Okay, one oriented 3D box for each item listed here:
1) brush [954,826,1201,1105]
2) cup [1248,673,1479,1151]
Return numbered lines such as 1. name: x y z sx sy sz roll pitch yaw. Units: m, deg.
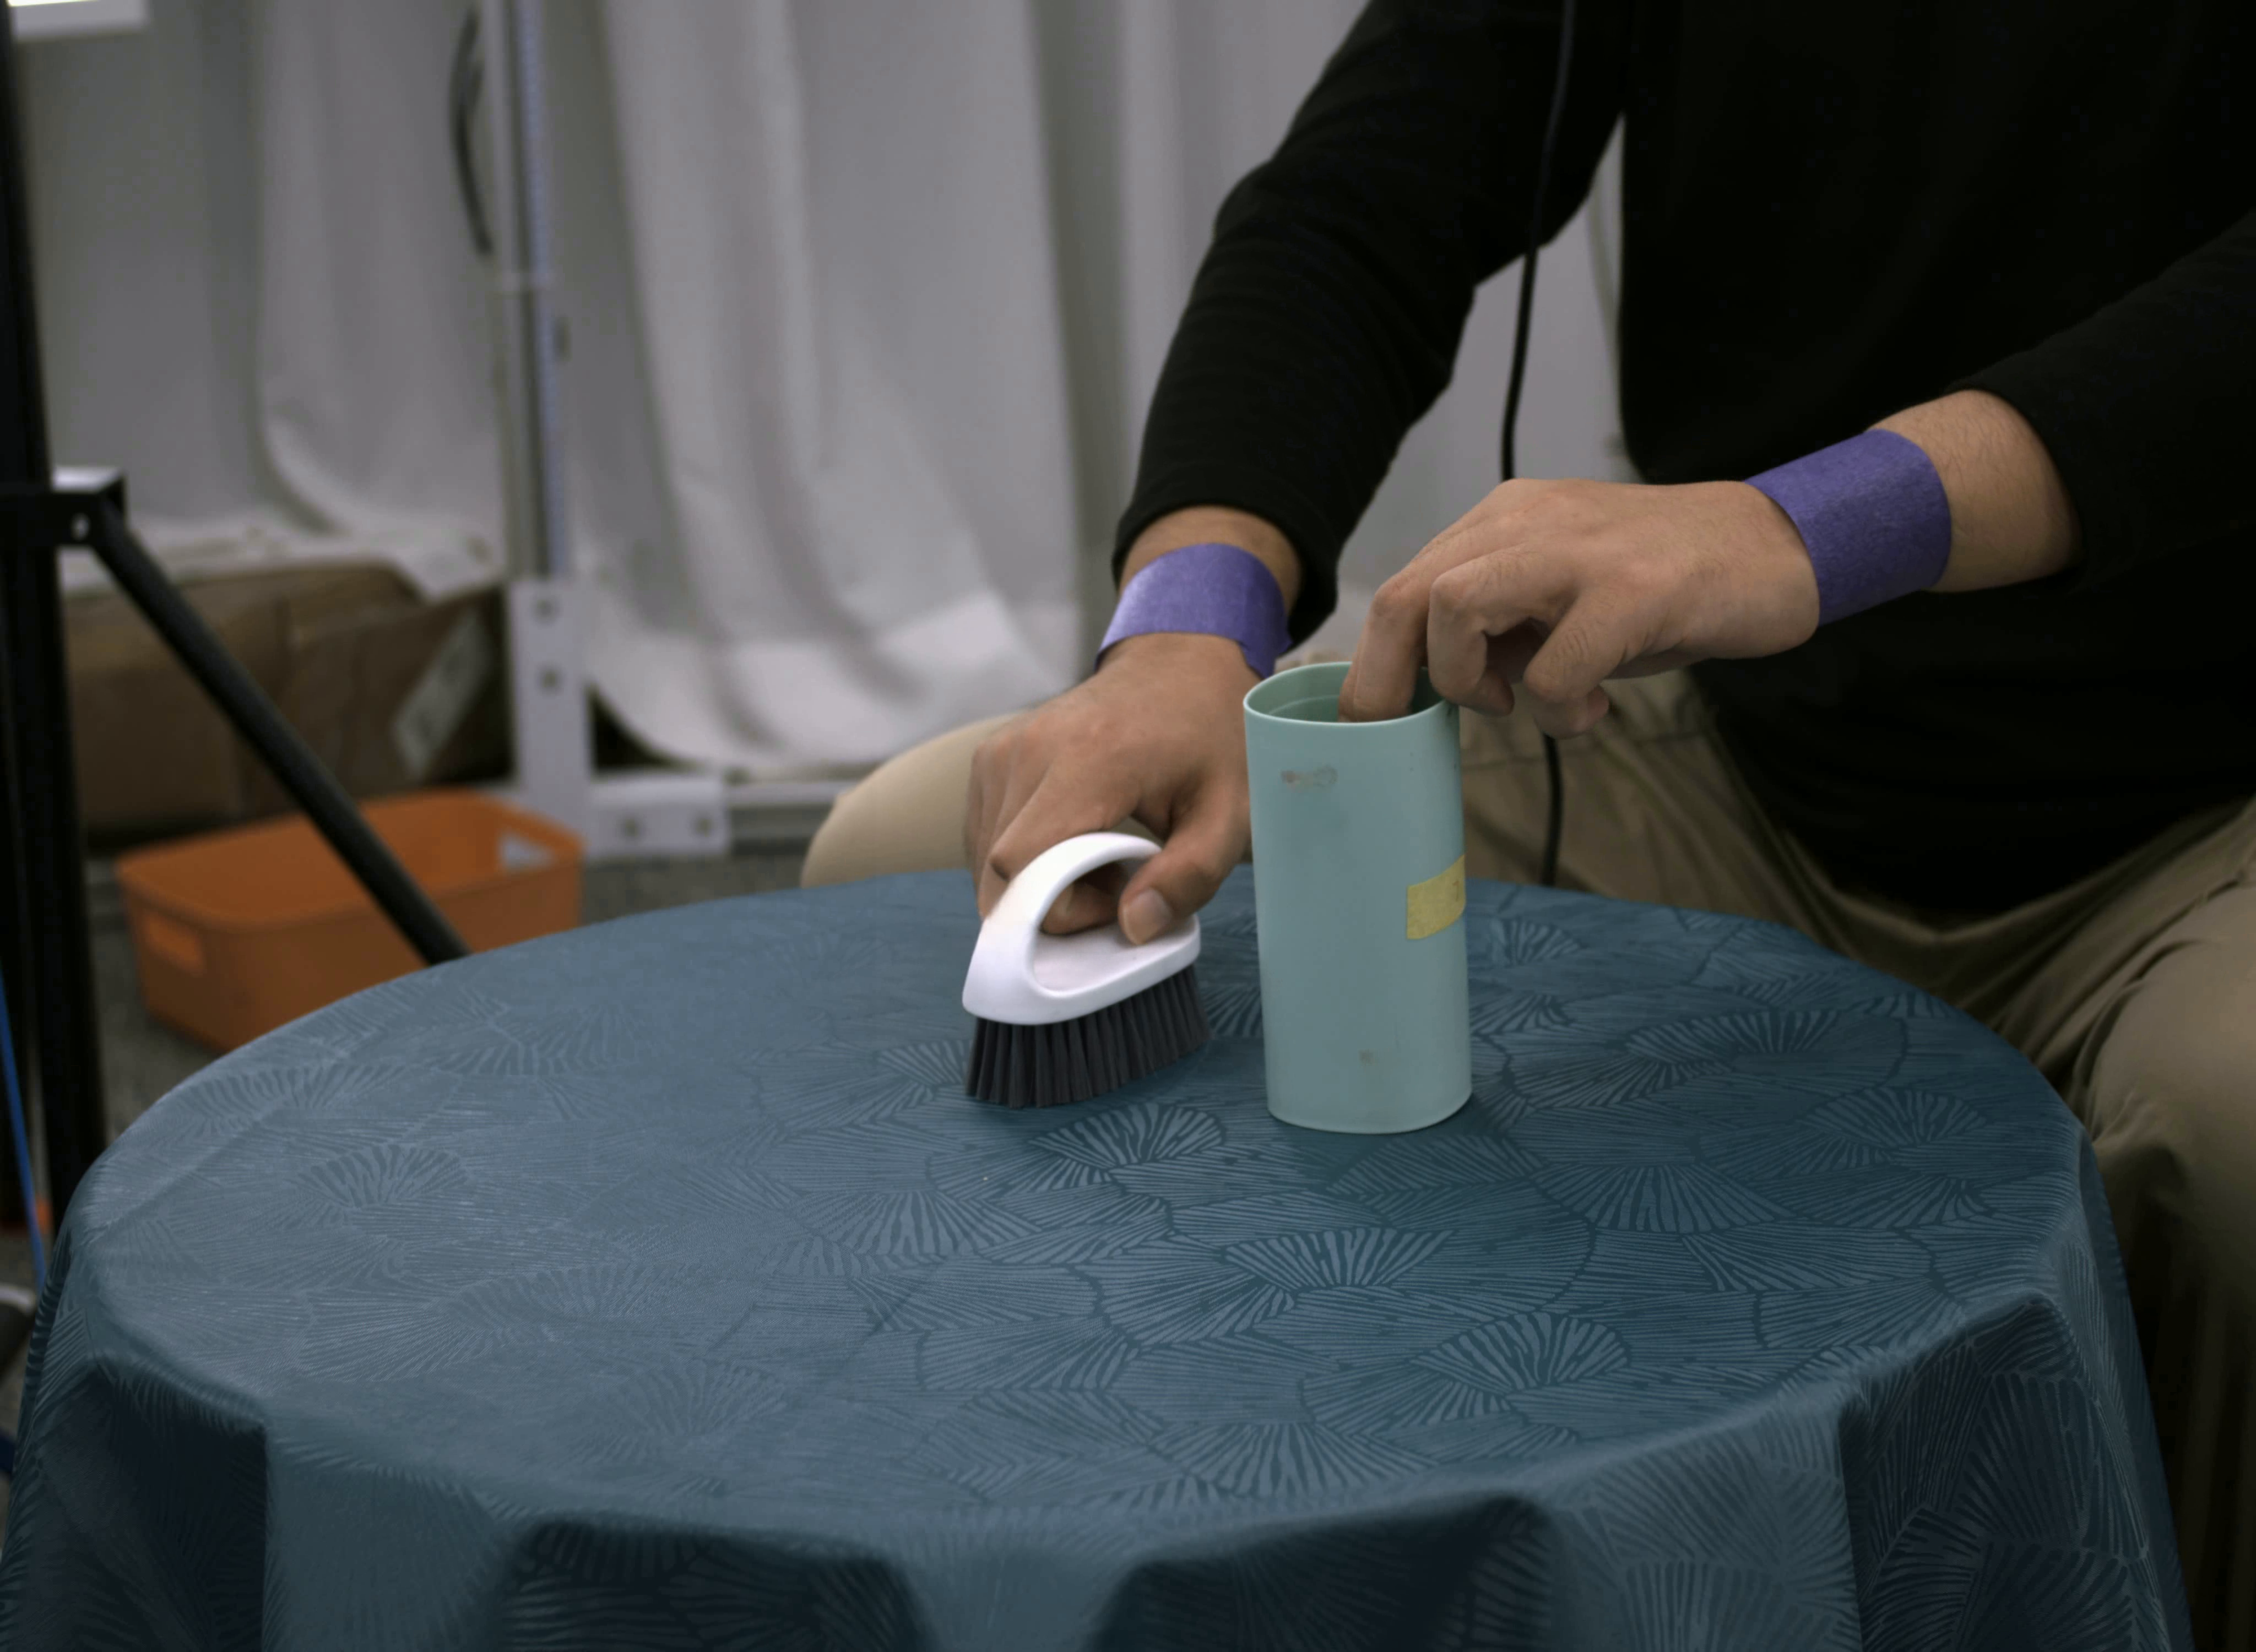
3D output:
1. brush: -0.016 0.038 1.672 0.051 0.072 0.097 11 21 36
2. cup: 0.071 0.025 1.610 0.066 0.132 0.067 -4 17 0
